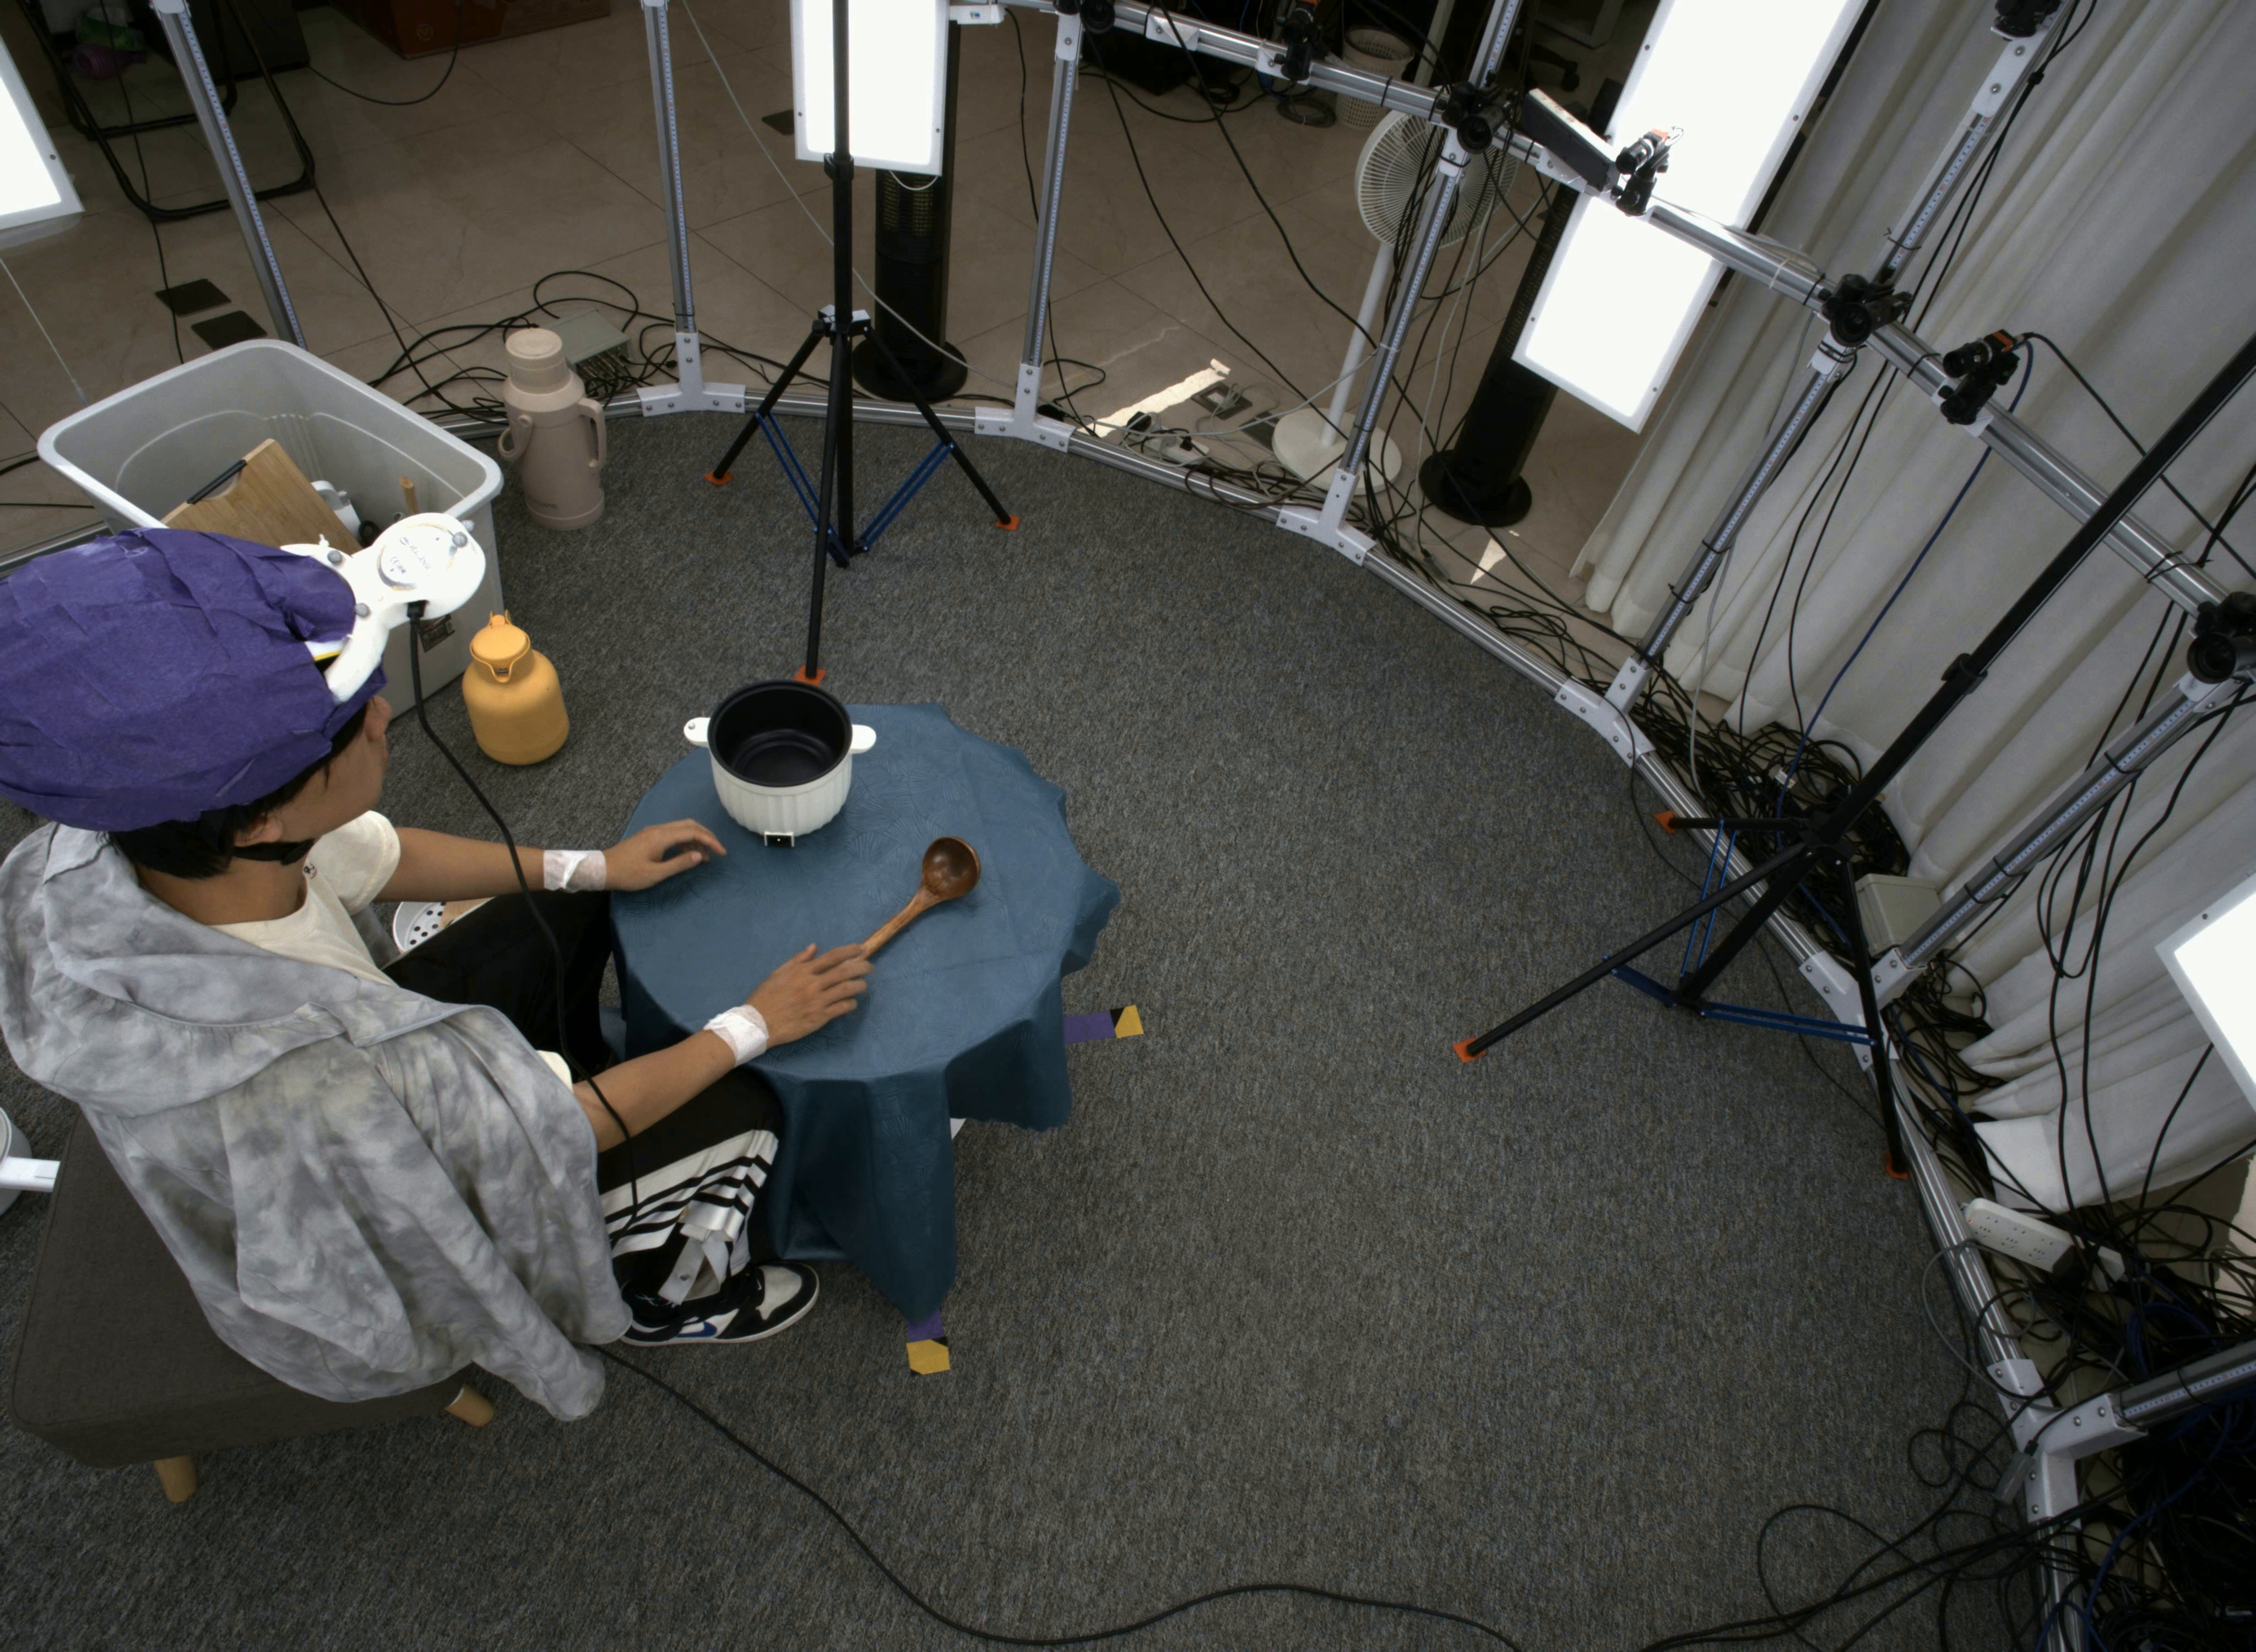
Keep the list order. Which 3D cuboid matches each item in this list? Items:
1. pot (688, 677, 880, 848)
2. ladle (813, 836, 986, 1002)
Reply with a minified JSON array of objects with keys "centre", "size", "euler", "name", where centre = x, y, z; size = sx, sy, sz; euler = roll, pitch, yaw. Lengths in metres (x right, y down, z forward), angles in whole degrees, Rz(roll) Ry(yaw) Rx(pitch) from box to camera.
[{"centre":[-0.447,-0.086,1.694],"size":[0.240,0.145,0.187],"euler":[2,56,-12],"name":"pot"},{"centre":[-0.285,0.112,1.627],"size":[0.080,0.078,0.274],"euler":[37,54,16],"name":"ladle"}]
